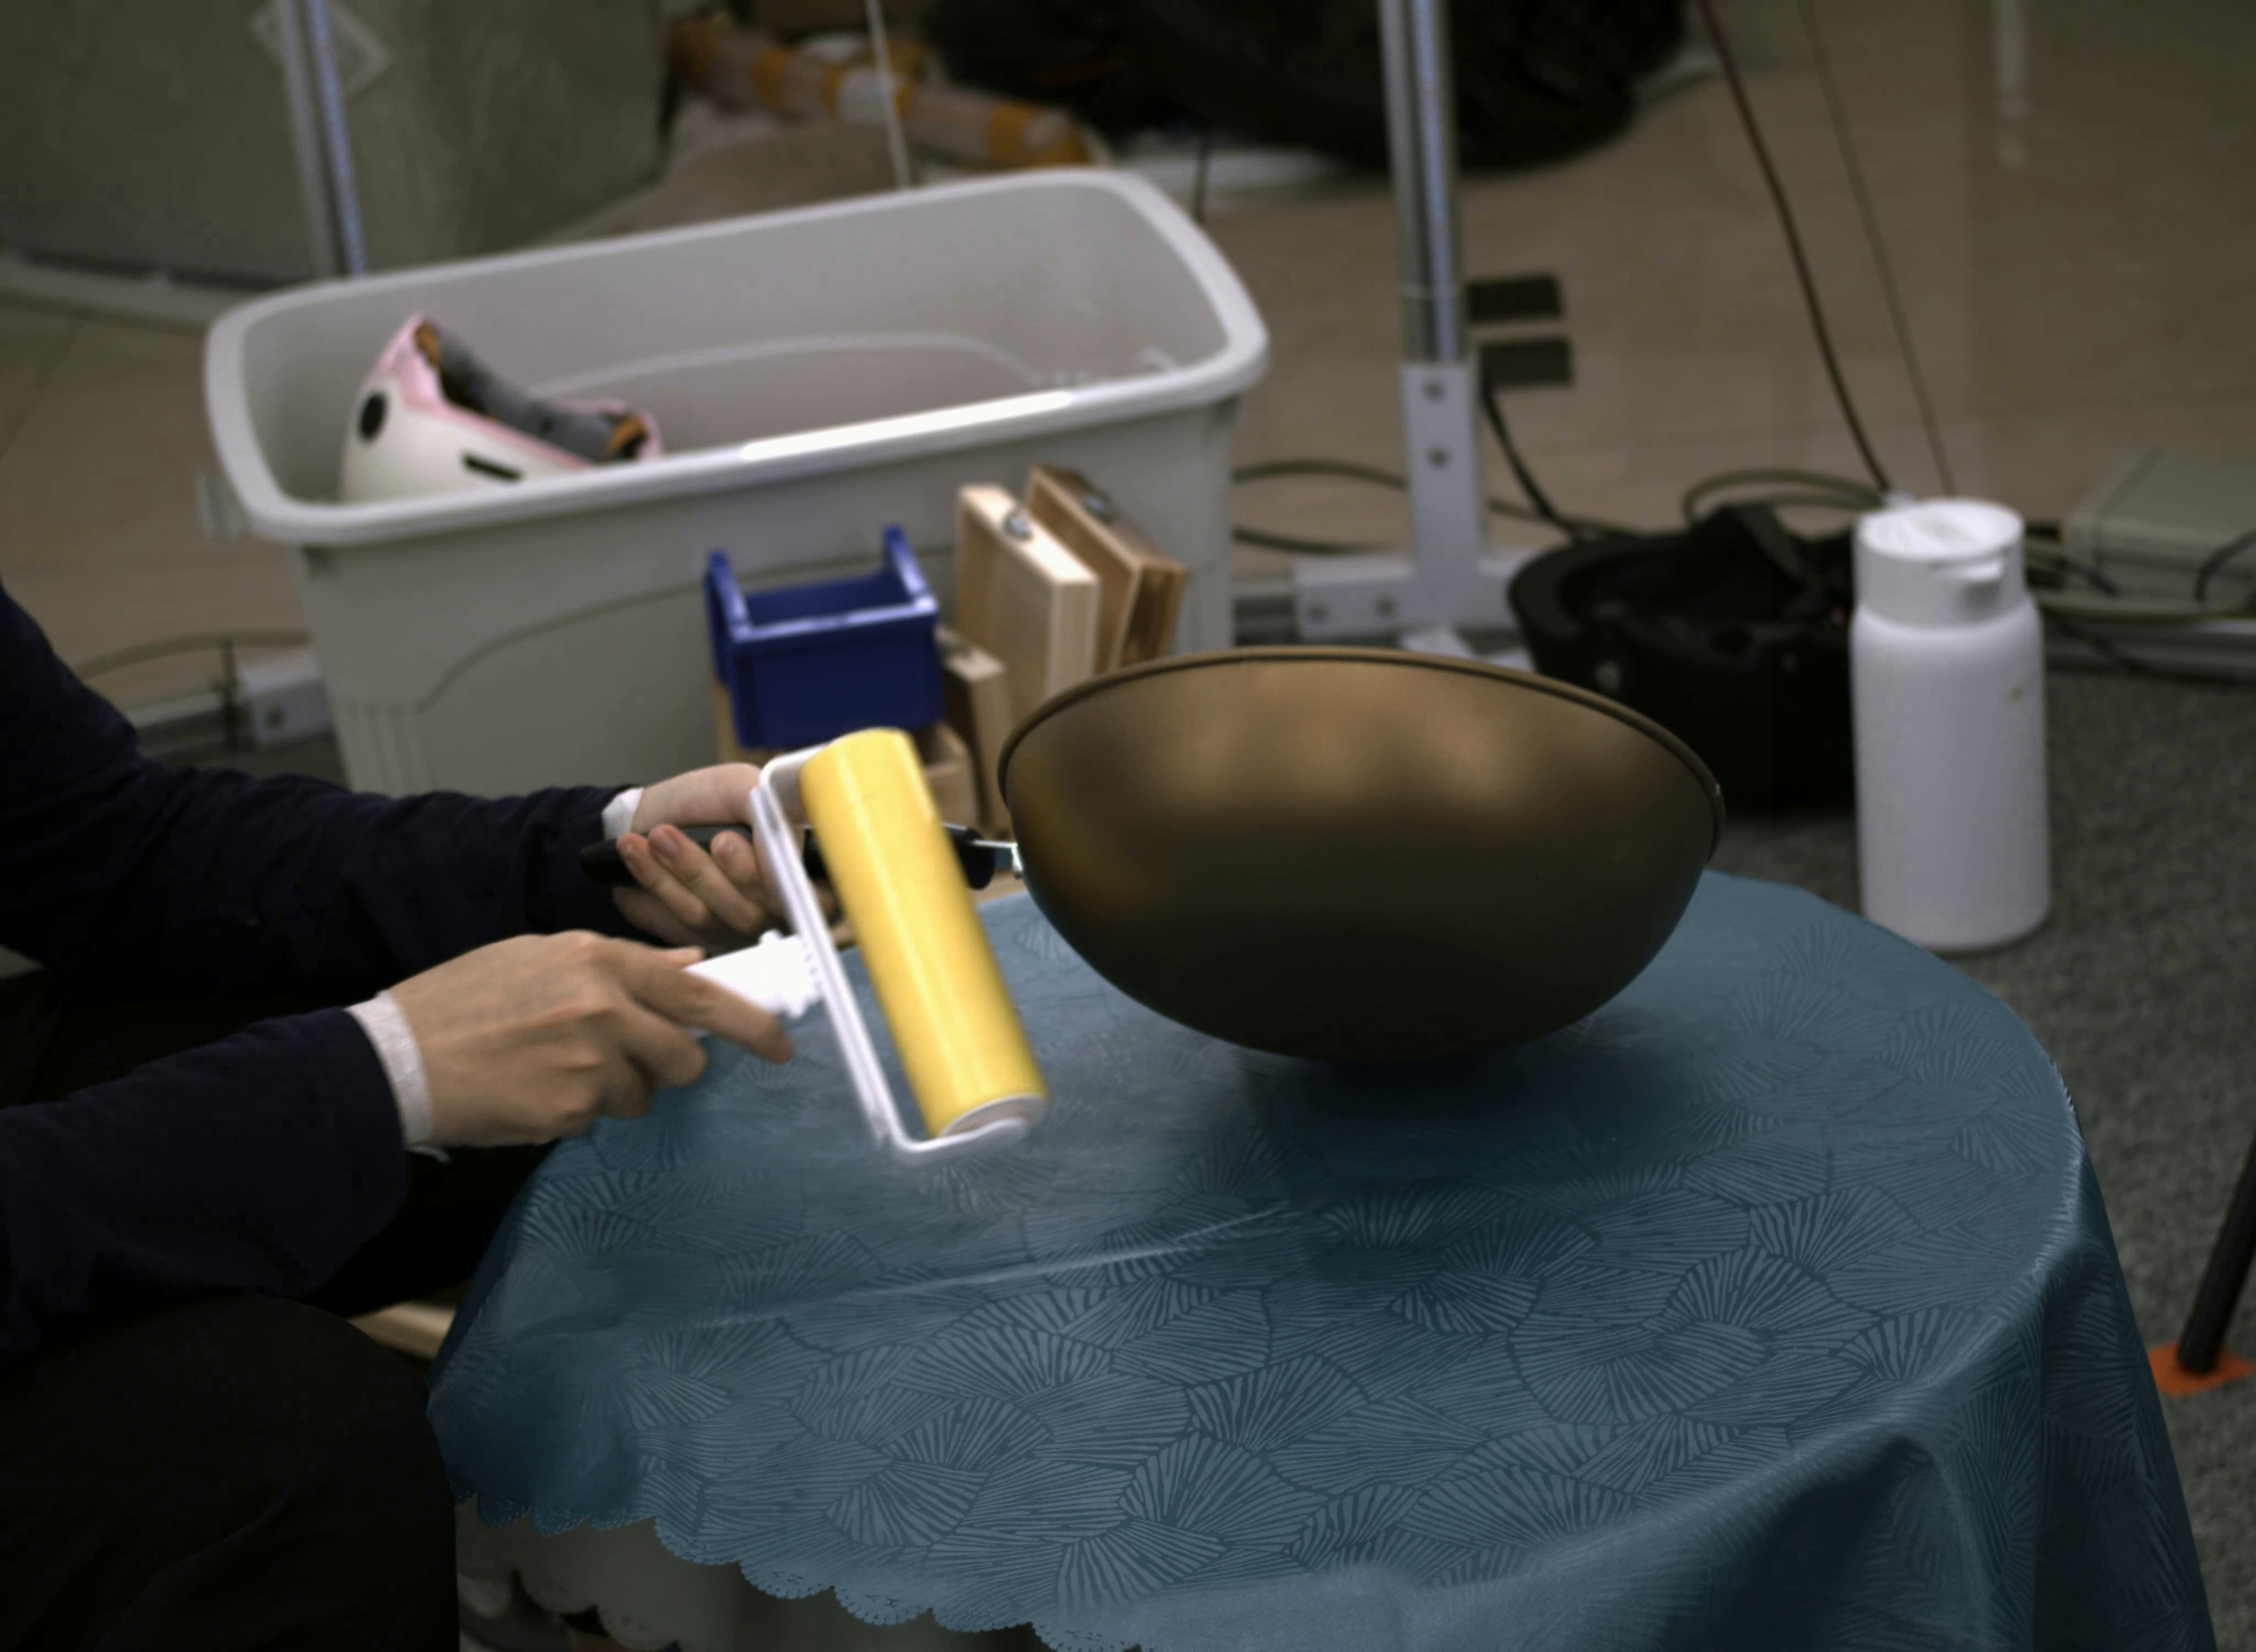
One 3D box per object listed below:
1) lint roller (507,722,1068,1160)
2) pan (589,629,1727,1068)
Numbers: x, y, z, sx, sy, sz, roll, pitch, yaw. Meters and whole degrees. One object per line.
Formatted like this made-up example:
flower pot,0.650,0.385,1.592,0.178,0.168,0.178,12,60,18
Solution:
lint roller,-0.137,0.056,2.103,0.191,0.052,0.172,-12,68,-27
pan,-0.001,0.029,2.171,0.463,0.292,0.086,-4,64,20
